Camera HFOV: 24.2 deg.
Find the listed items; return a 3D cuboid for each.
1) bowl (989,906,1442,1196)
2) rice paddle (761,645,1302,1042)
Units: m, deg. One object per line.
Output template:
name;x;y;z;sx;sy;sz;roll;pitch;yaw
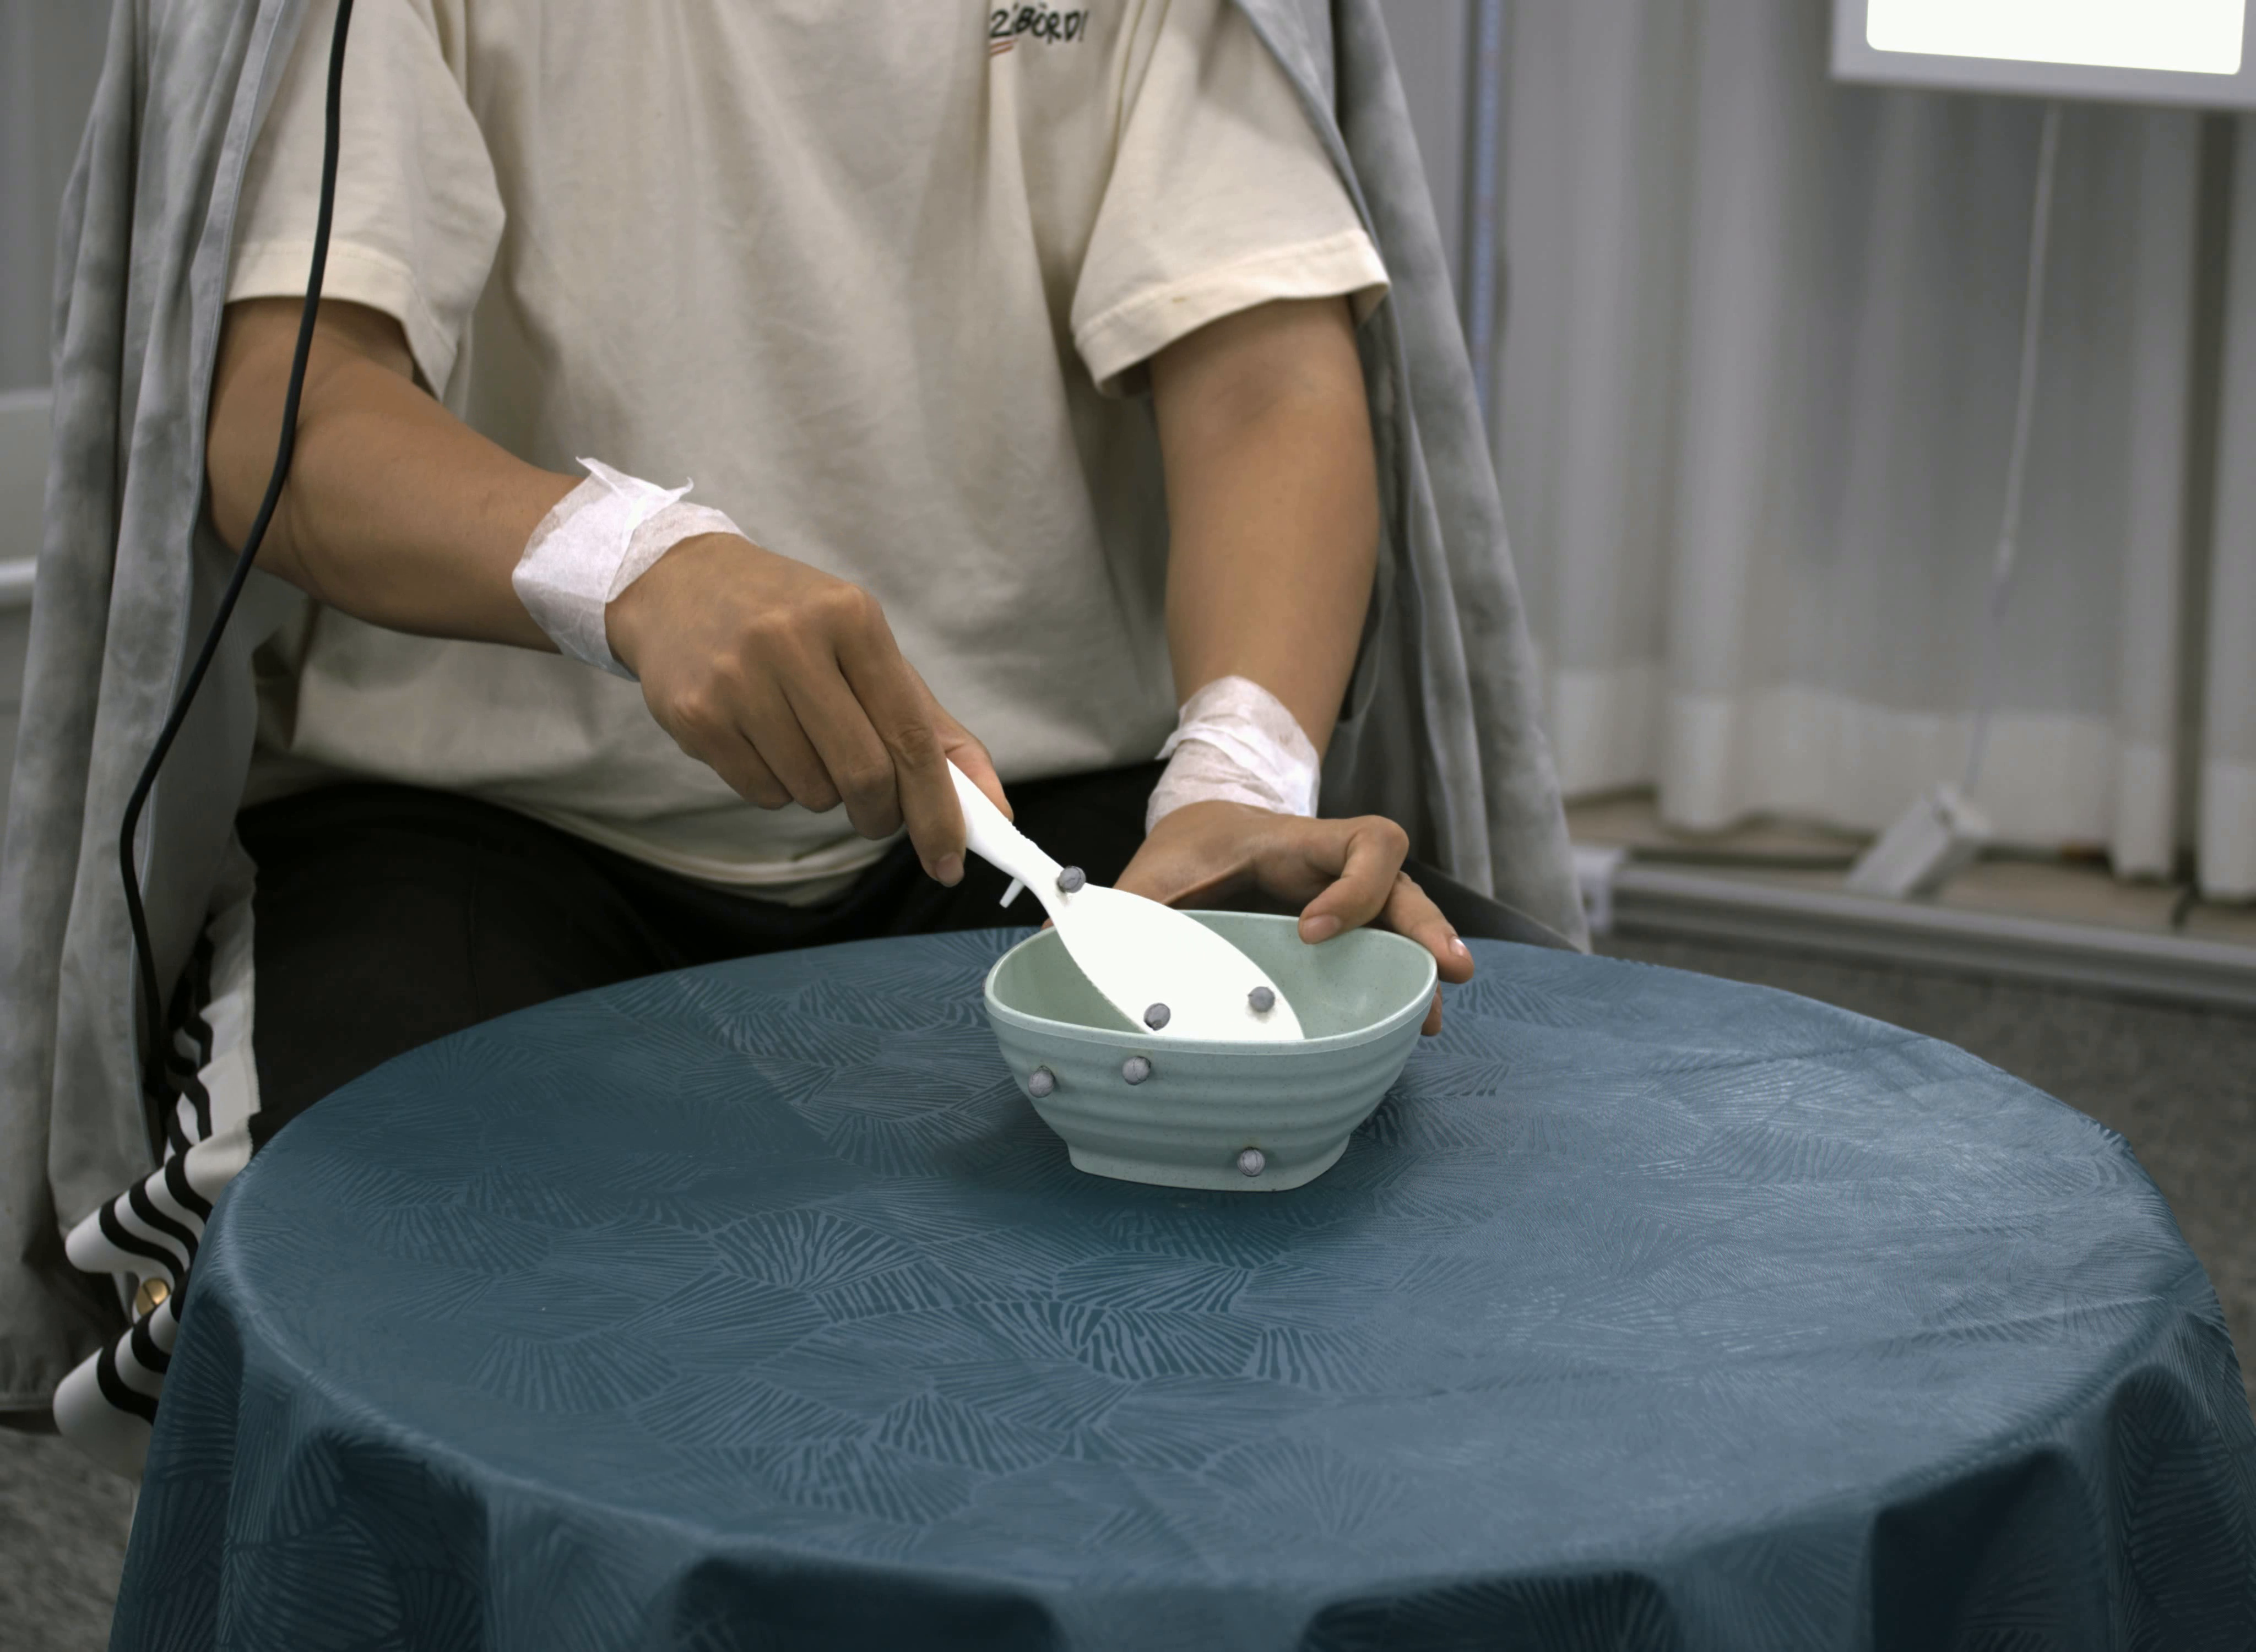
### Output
bowl;0.028;0.074;1.661;0.151;0.059;0.150;-1;17;1
rice paddle;-0.026;0.015;1.667;0.205;0.029;0.068;37;34;0
